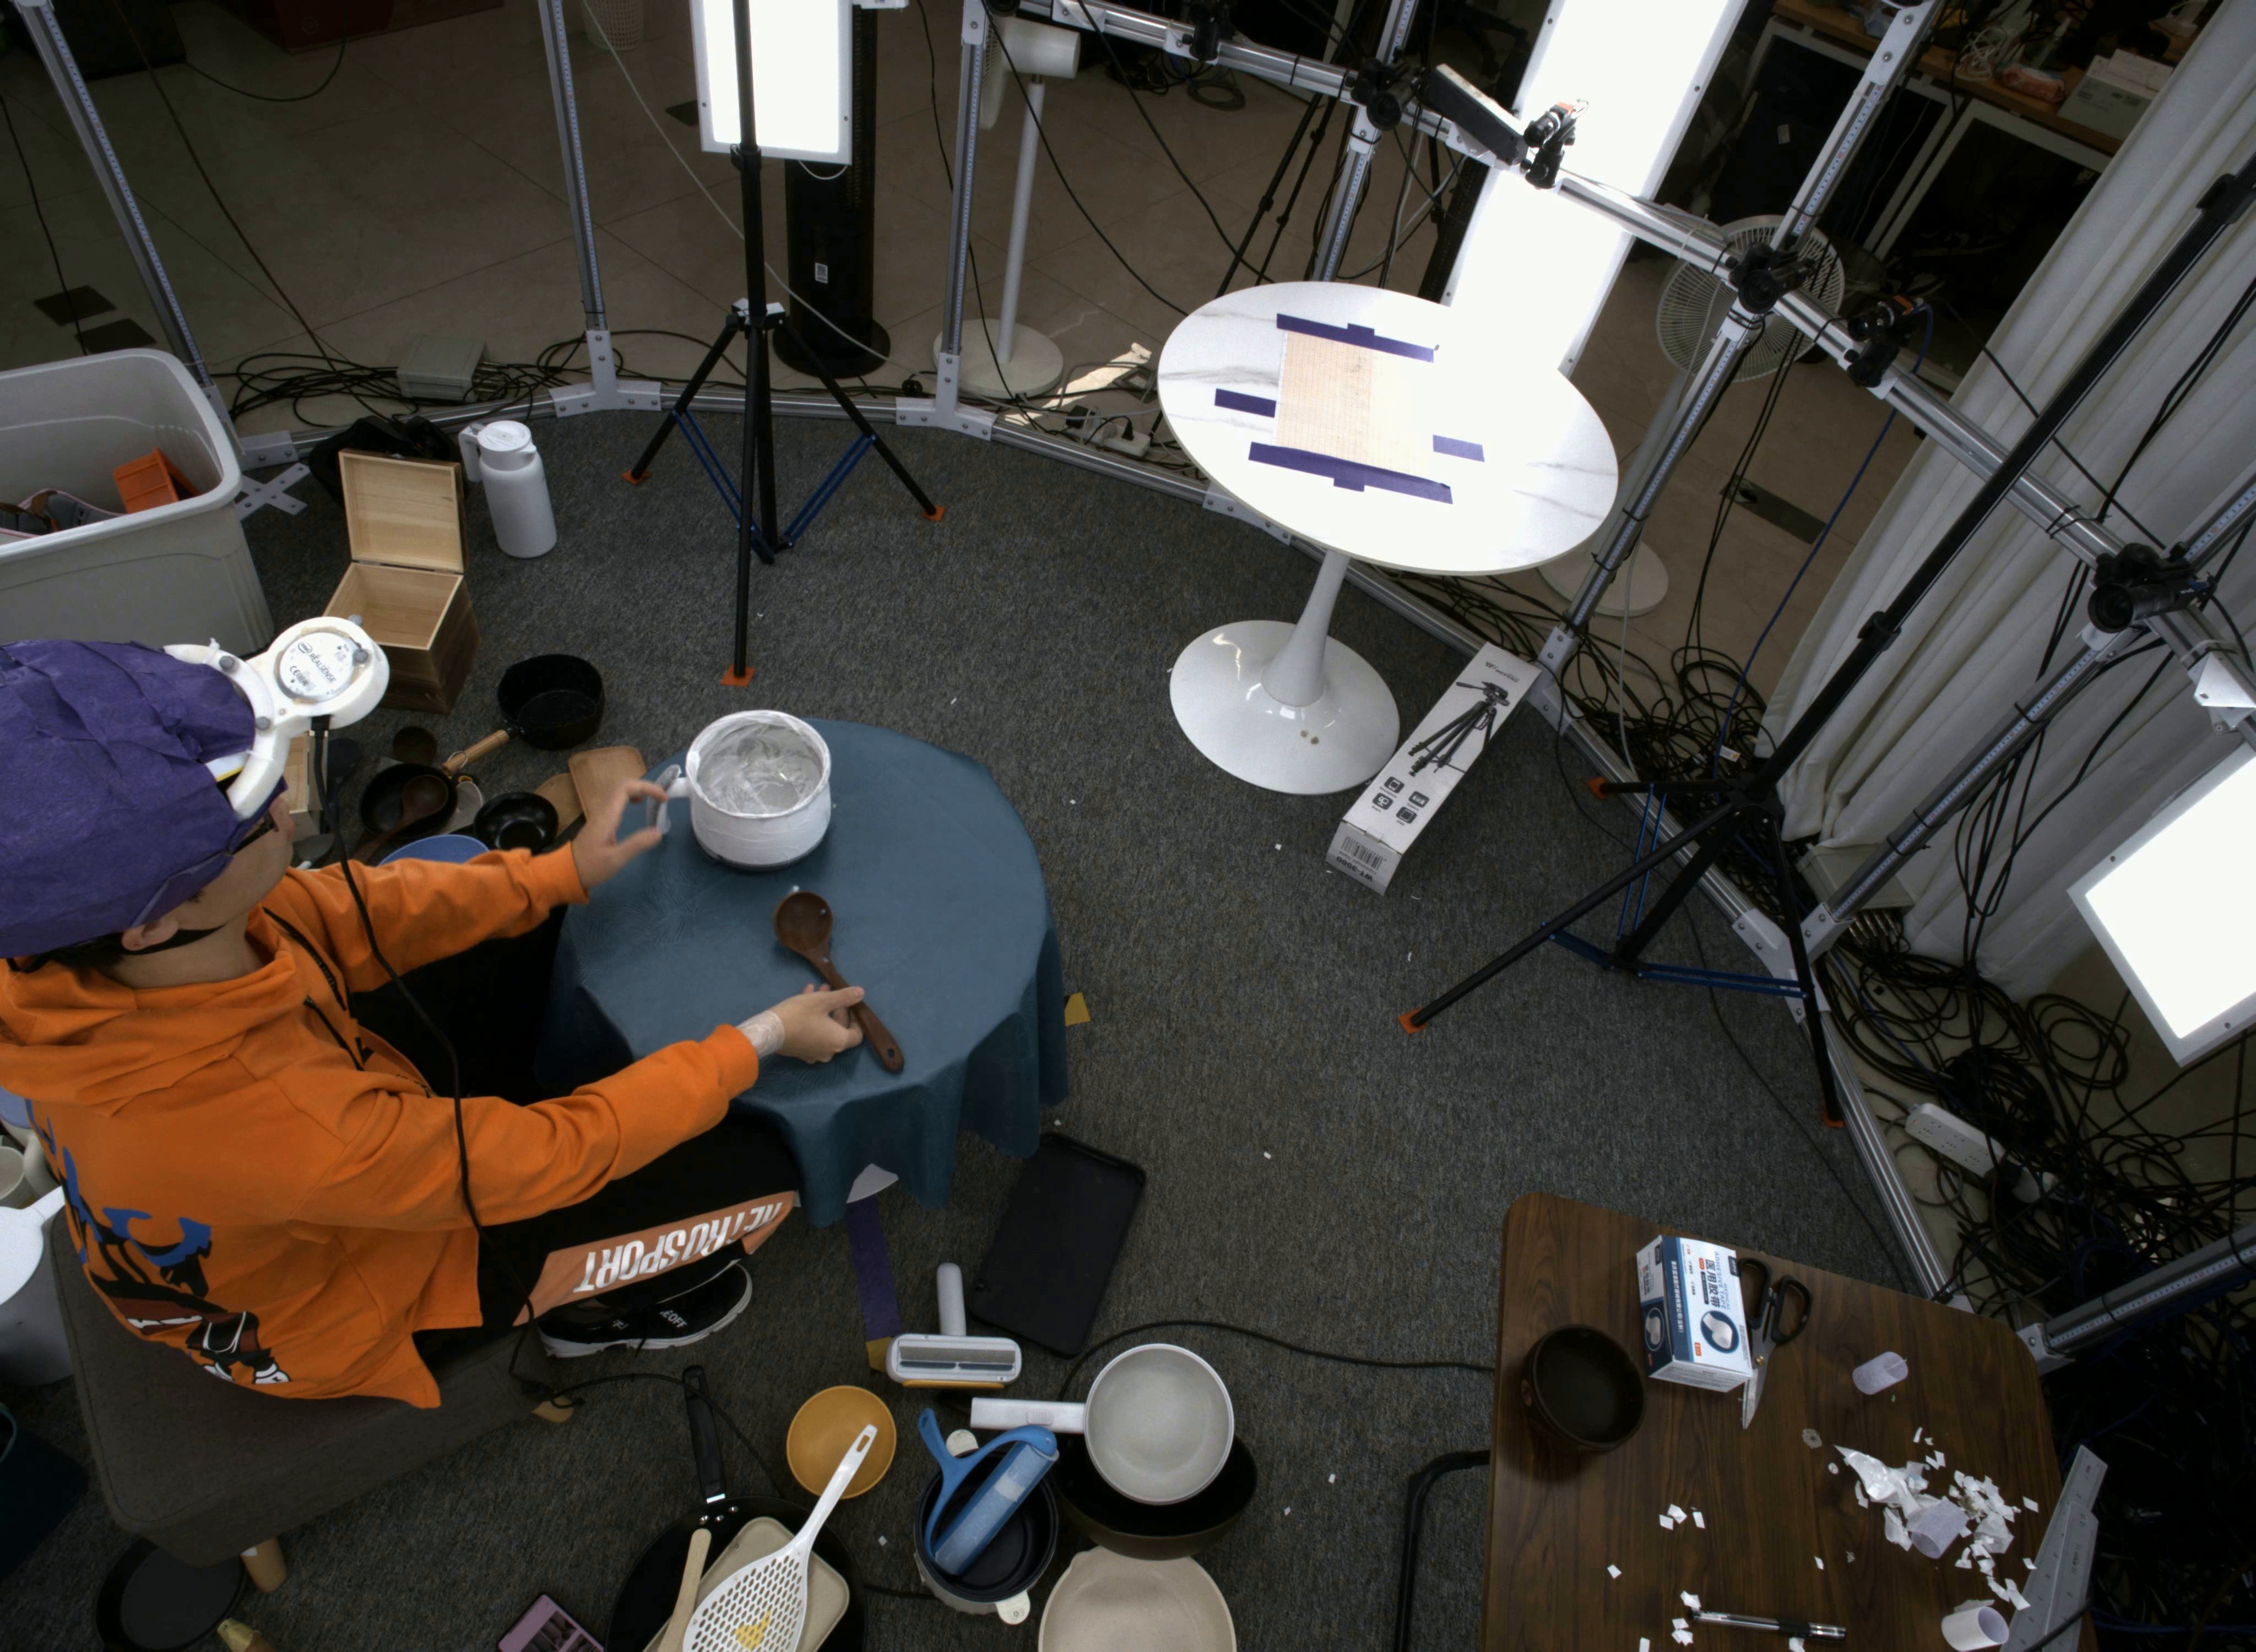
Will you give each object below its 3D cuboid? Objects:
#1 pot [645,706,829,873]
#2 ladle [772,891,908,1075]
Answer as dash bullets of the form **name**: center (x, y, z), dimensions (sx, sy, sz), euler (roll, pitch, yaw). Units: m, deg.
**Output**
- **pot**: center (-0.496, -0.039, 1.635), dimensions (0.235, 0.139, 0.174), euler (-8, 55, -20)
- **ladle**: center (-0.341, 0.183, 1.557), dimensions (0.077, 0.066, 0.254), euler (-30, 66, -26)
